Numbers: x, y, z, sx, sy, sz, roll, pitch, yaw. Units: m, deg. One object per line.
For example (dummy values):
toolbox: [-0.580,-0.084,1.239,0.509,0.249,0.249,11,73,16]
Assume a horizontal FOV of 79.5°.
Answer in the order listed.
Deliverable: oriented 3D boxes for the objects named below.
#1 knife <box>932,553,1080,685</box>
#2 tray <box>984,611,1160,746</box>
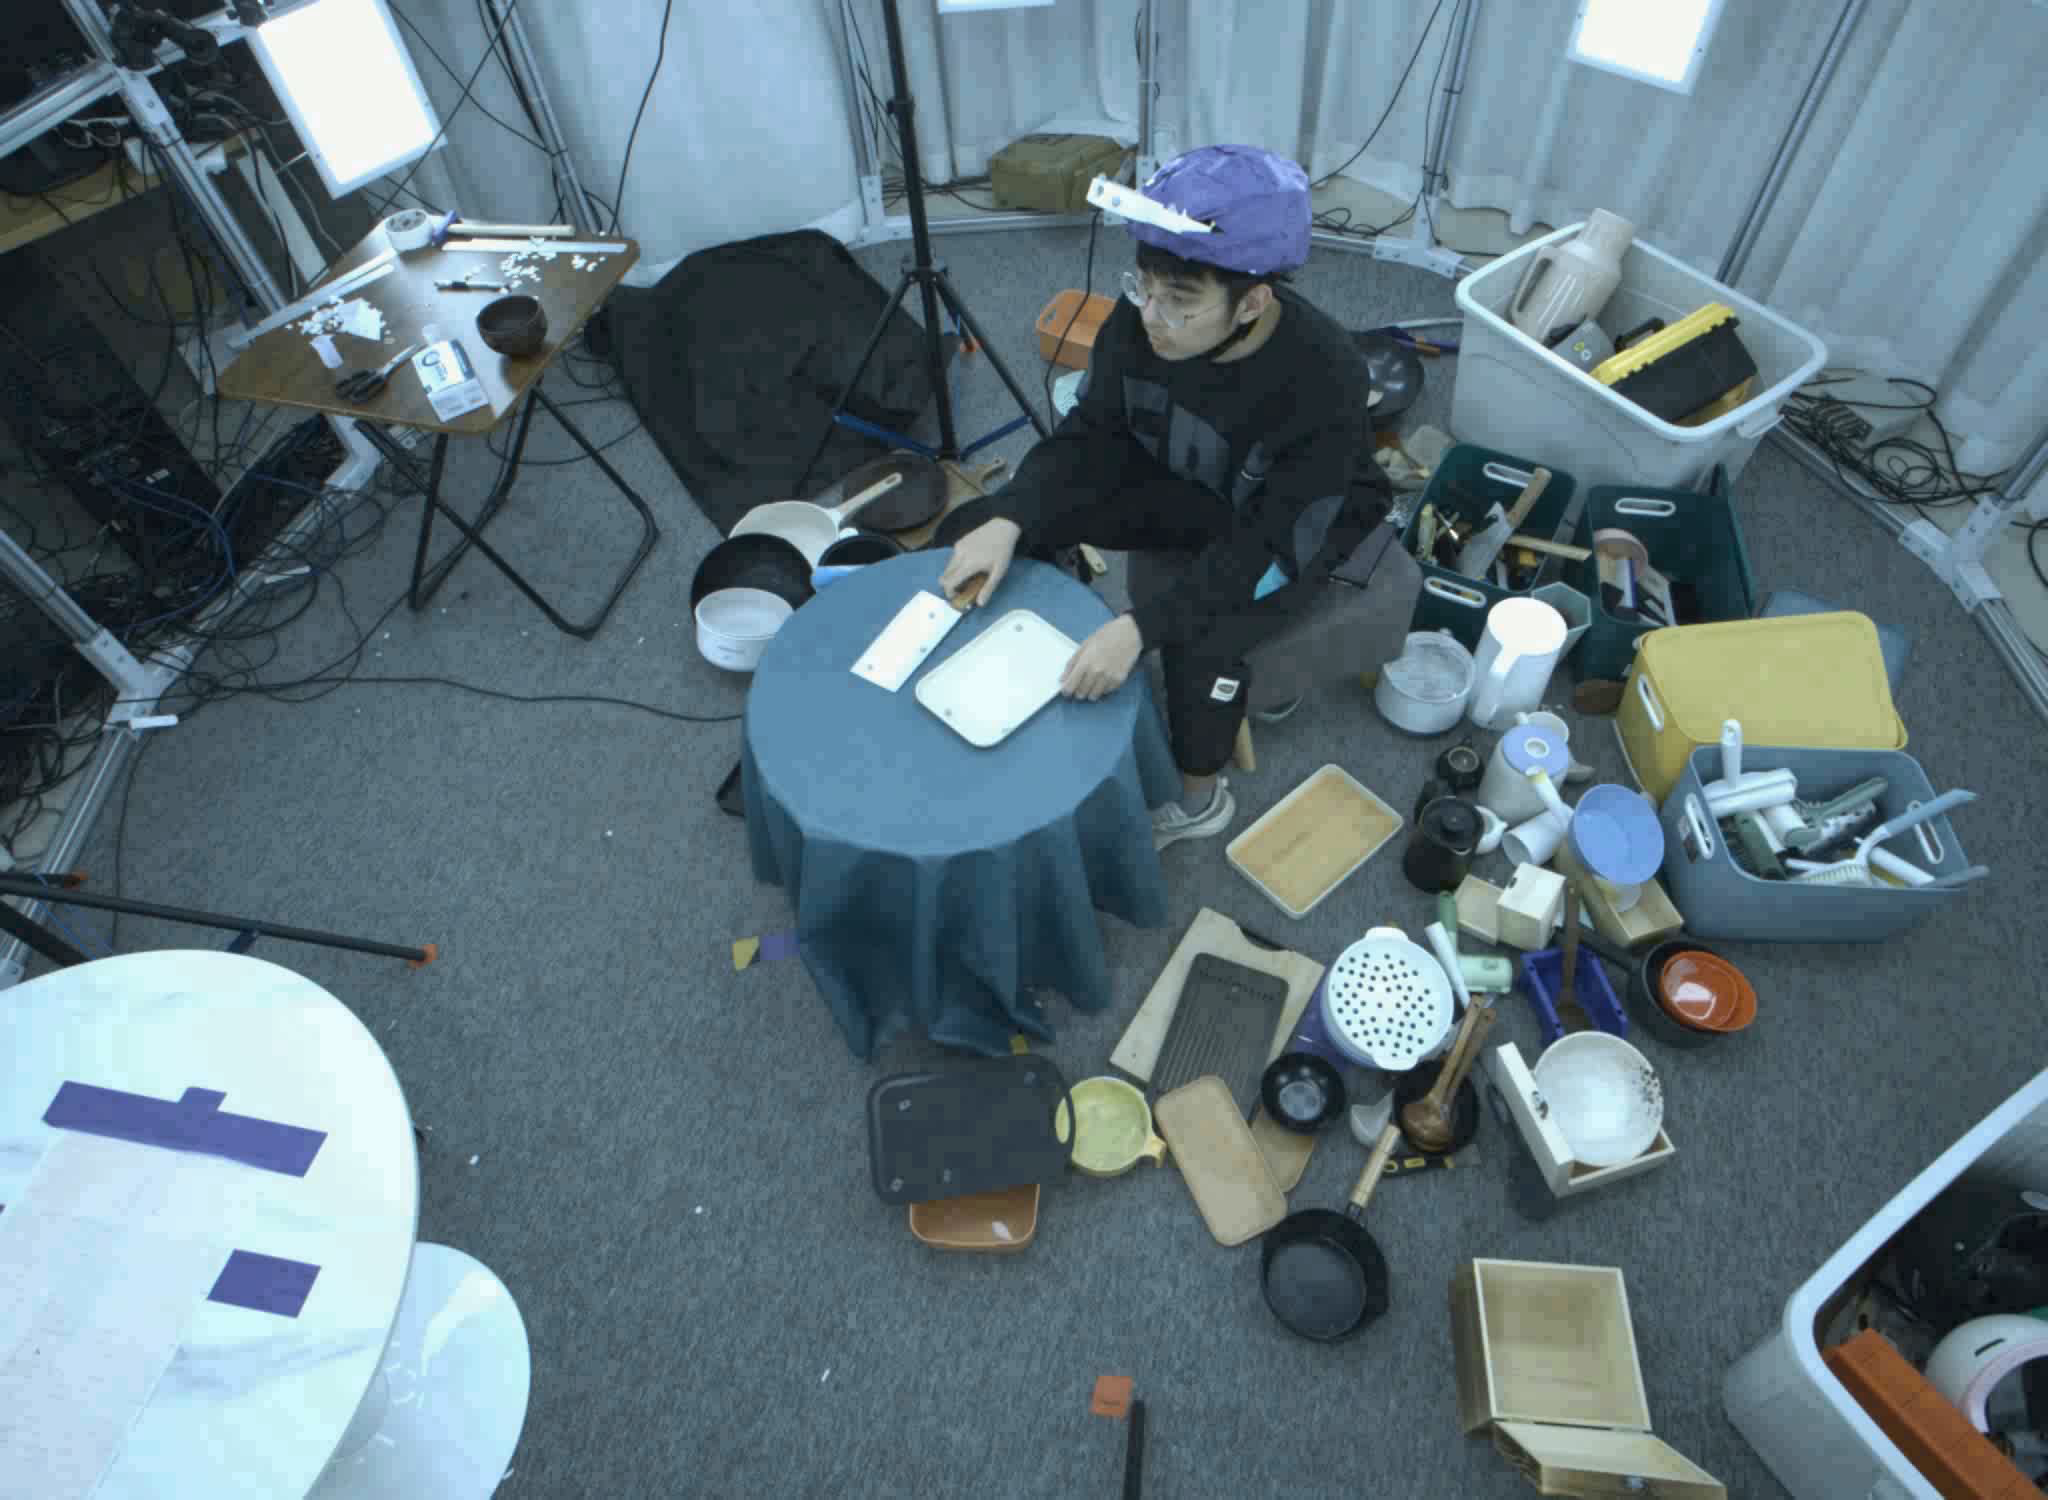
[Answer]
knife: [-0.031,-0.219,1.933,0.091,0.021,0.307,31,64,23]
tray: [0.073,-0.109,1.849,0.241,0.017,0.168,-36,60,-21]
